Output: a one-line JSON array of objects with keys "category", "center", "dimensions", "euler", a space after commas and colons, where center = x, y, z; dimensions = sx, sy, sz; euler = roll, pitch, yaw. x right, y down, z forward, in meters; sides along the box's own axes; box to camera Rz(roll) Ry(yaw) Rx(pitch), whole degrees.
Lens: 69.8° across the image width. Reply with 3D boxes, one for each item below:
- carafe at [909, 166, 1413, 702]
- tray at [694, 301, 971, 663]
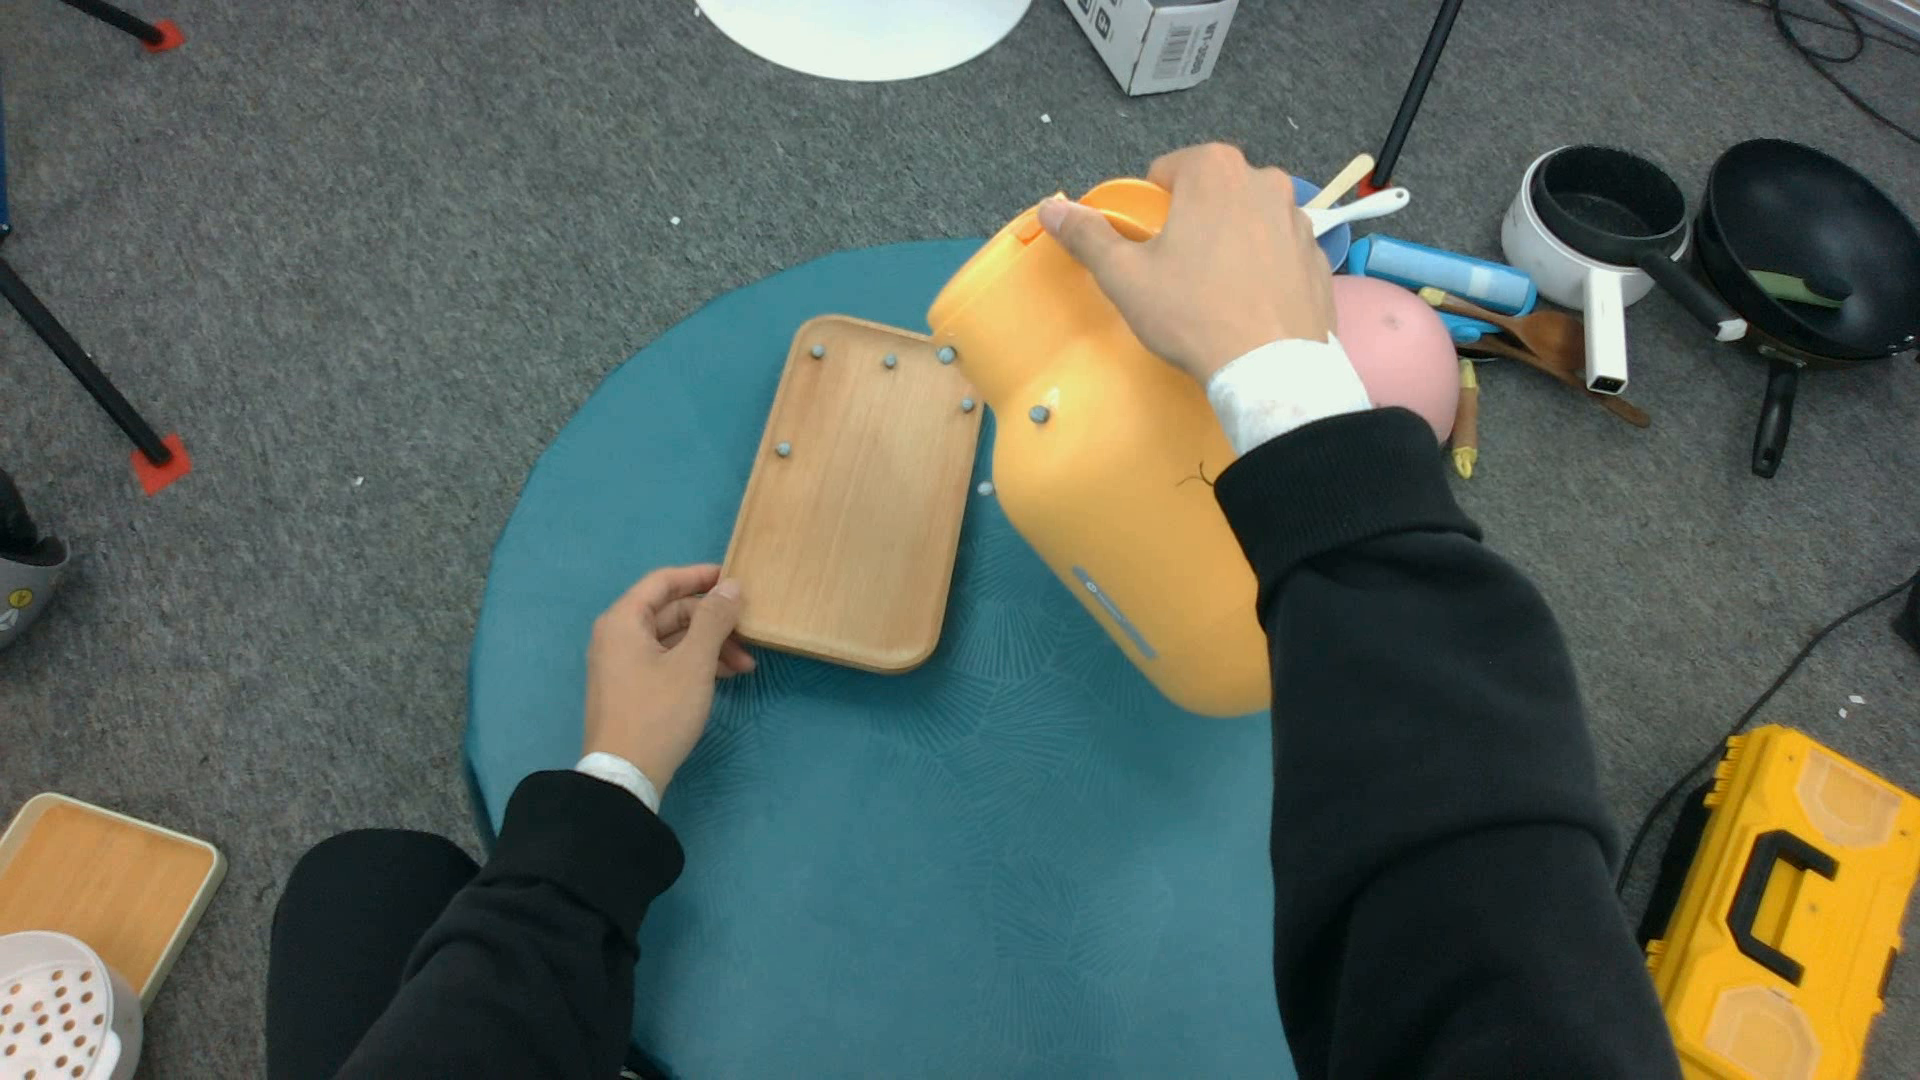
[{"category": "carafe", "center": [0.096, -0.058, 0.669], "dimensions": [0.260, 0.201, 0.164], "euler": [46, 65, -5]}, {"category": "tray", "center": [-0.069, -0.041, 0.820], "dimensions": [0.130, 0.023, 0.252], "euler": [12, 55, -2]}]
